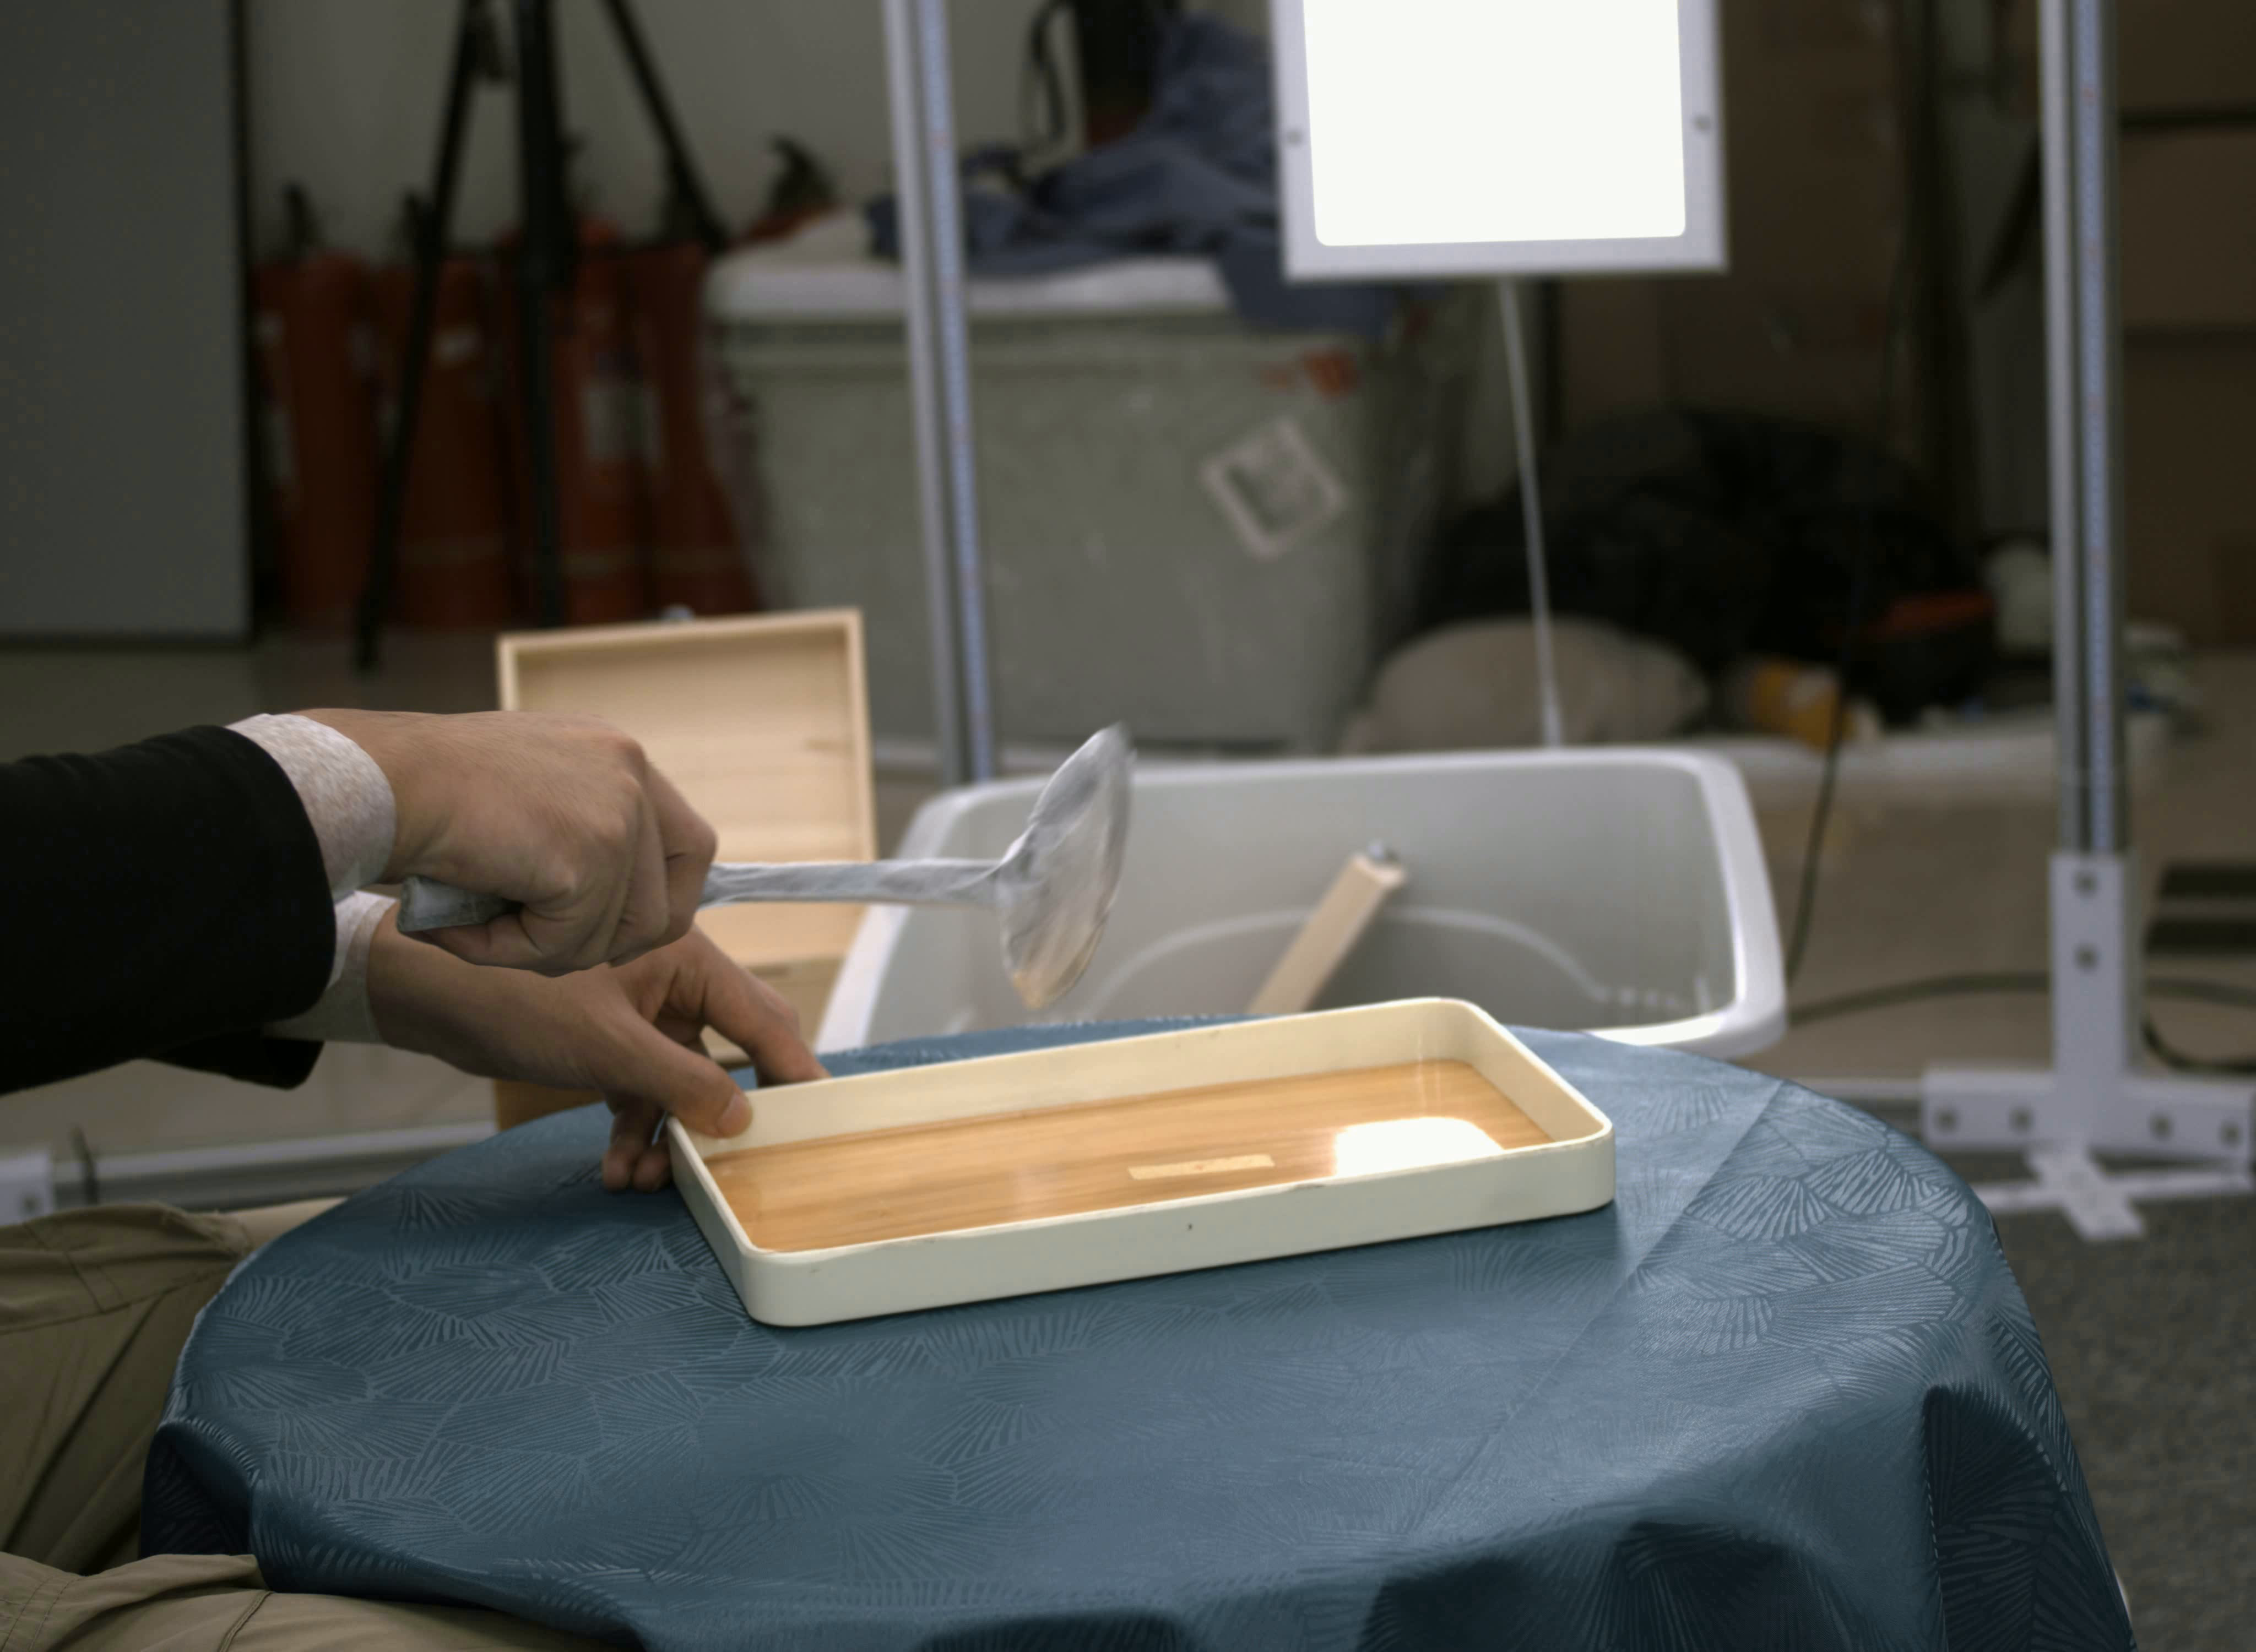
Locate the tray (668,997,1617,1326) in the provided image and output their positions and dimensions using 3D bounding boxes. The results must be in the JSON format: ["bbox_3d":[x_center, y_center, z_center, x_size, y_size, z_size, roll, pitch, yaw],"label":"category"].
[{"bbox_3d":[0.002,0.113,1.893,0.297,0.027,0.193,-8,14,-10],"label":"tray"}]

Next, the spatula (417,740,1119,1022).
[{"bbox_3d":[-0.108,0.020,1.778,0.045,0.099,0.356,18,11,40],"label":"spatula"}]
